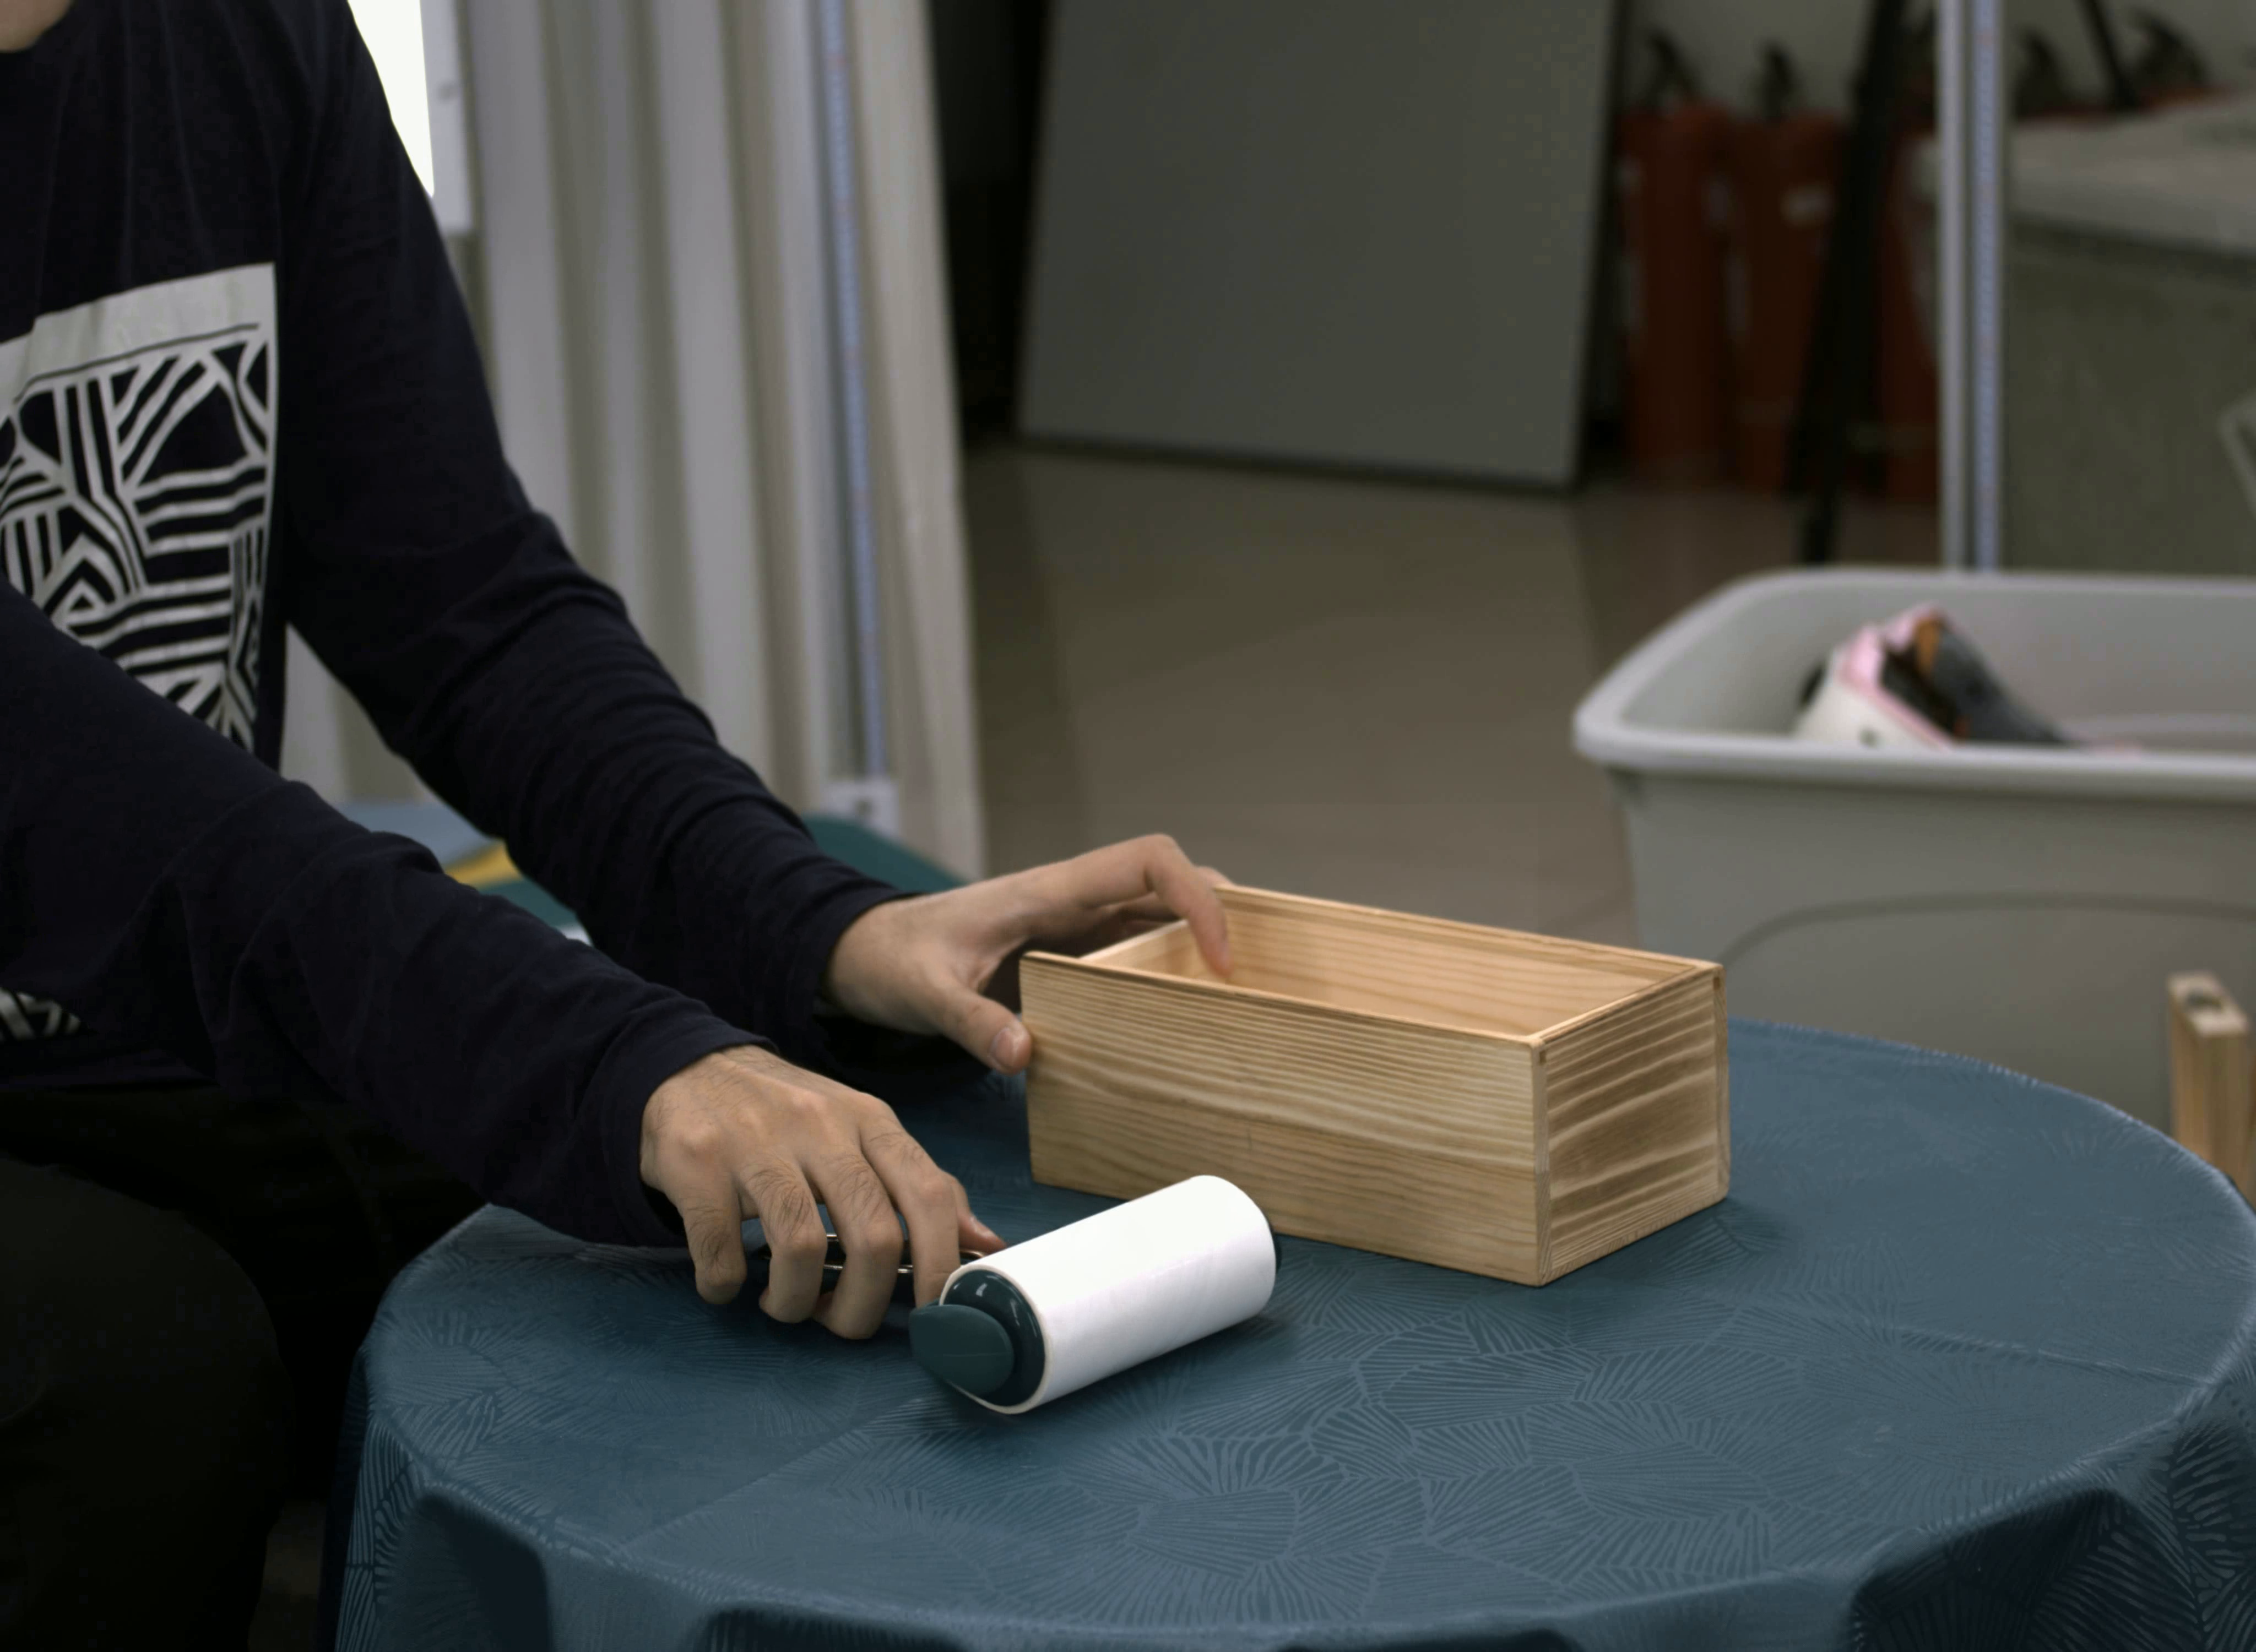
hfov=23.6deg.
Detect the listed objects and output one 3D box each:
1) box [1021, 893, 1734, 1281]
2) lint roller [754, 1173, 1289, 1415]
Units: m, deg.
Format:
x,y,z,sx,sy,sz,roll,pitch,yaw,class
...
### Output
x,y,z,sx,sy,sz,roll,pitch,yaw,class
0.080,0.082,1.746,0.213,0.081,0.105,5,17,41,box
-0.053,0.136,1.650,0.182,0.049,0.131,3,15,45,lint roller
